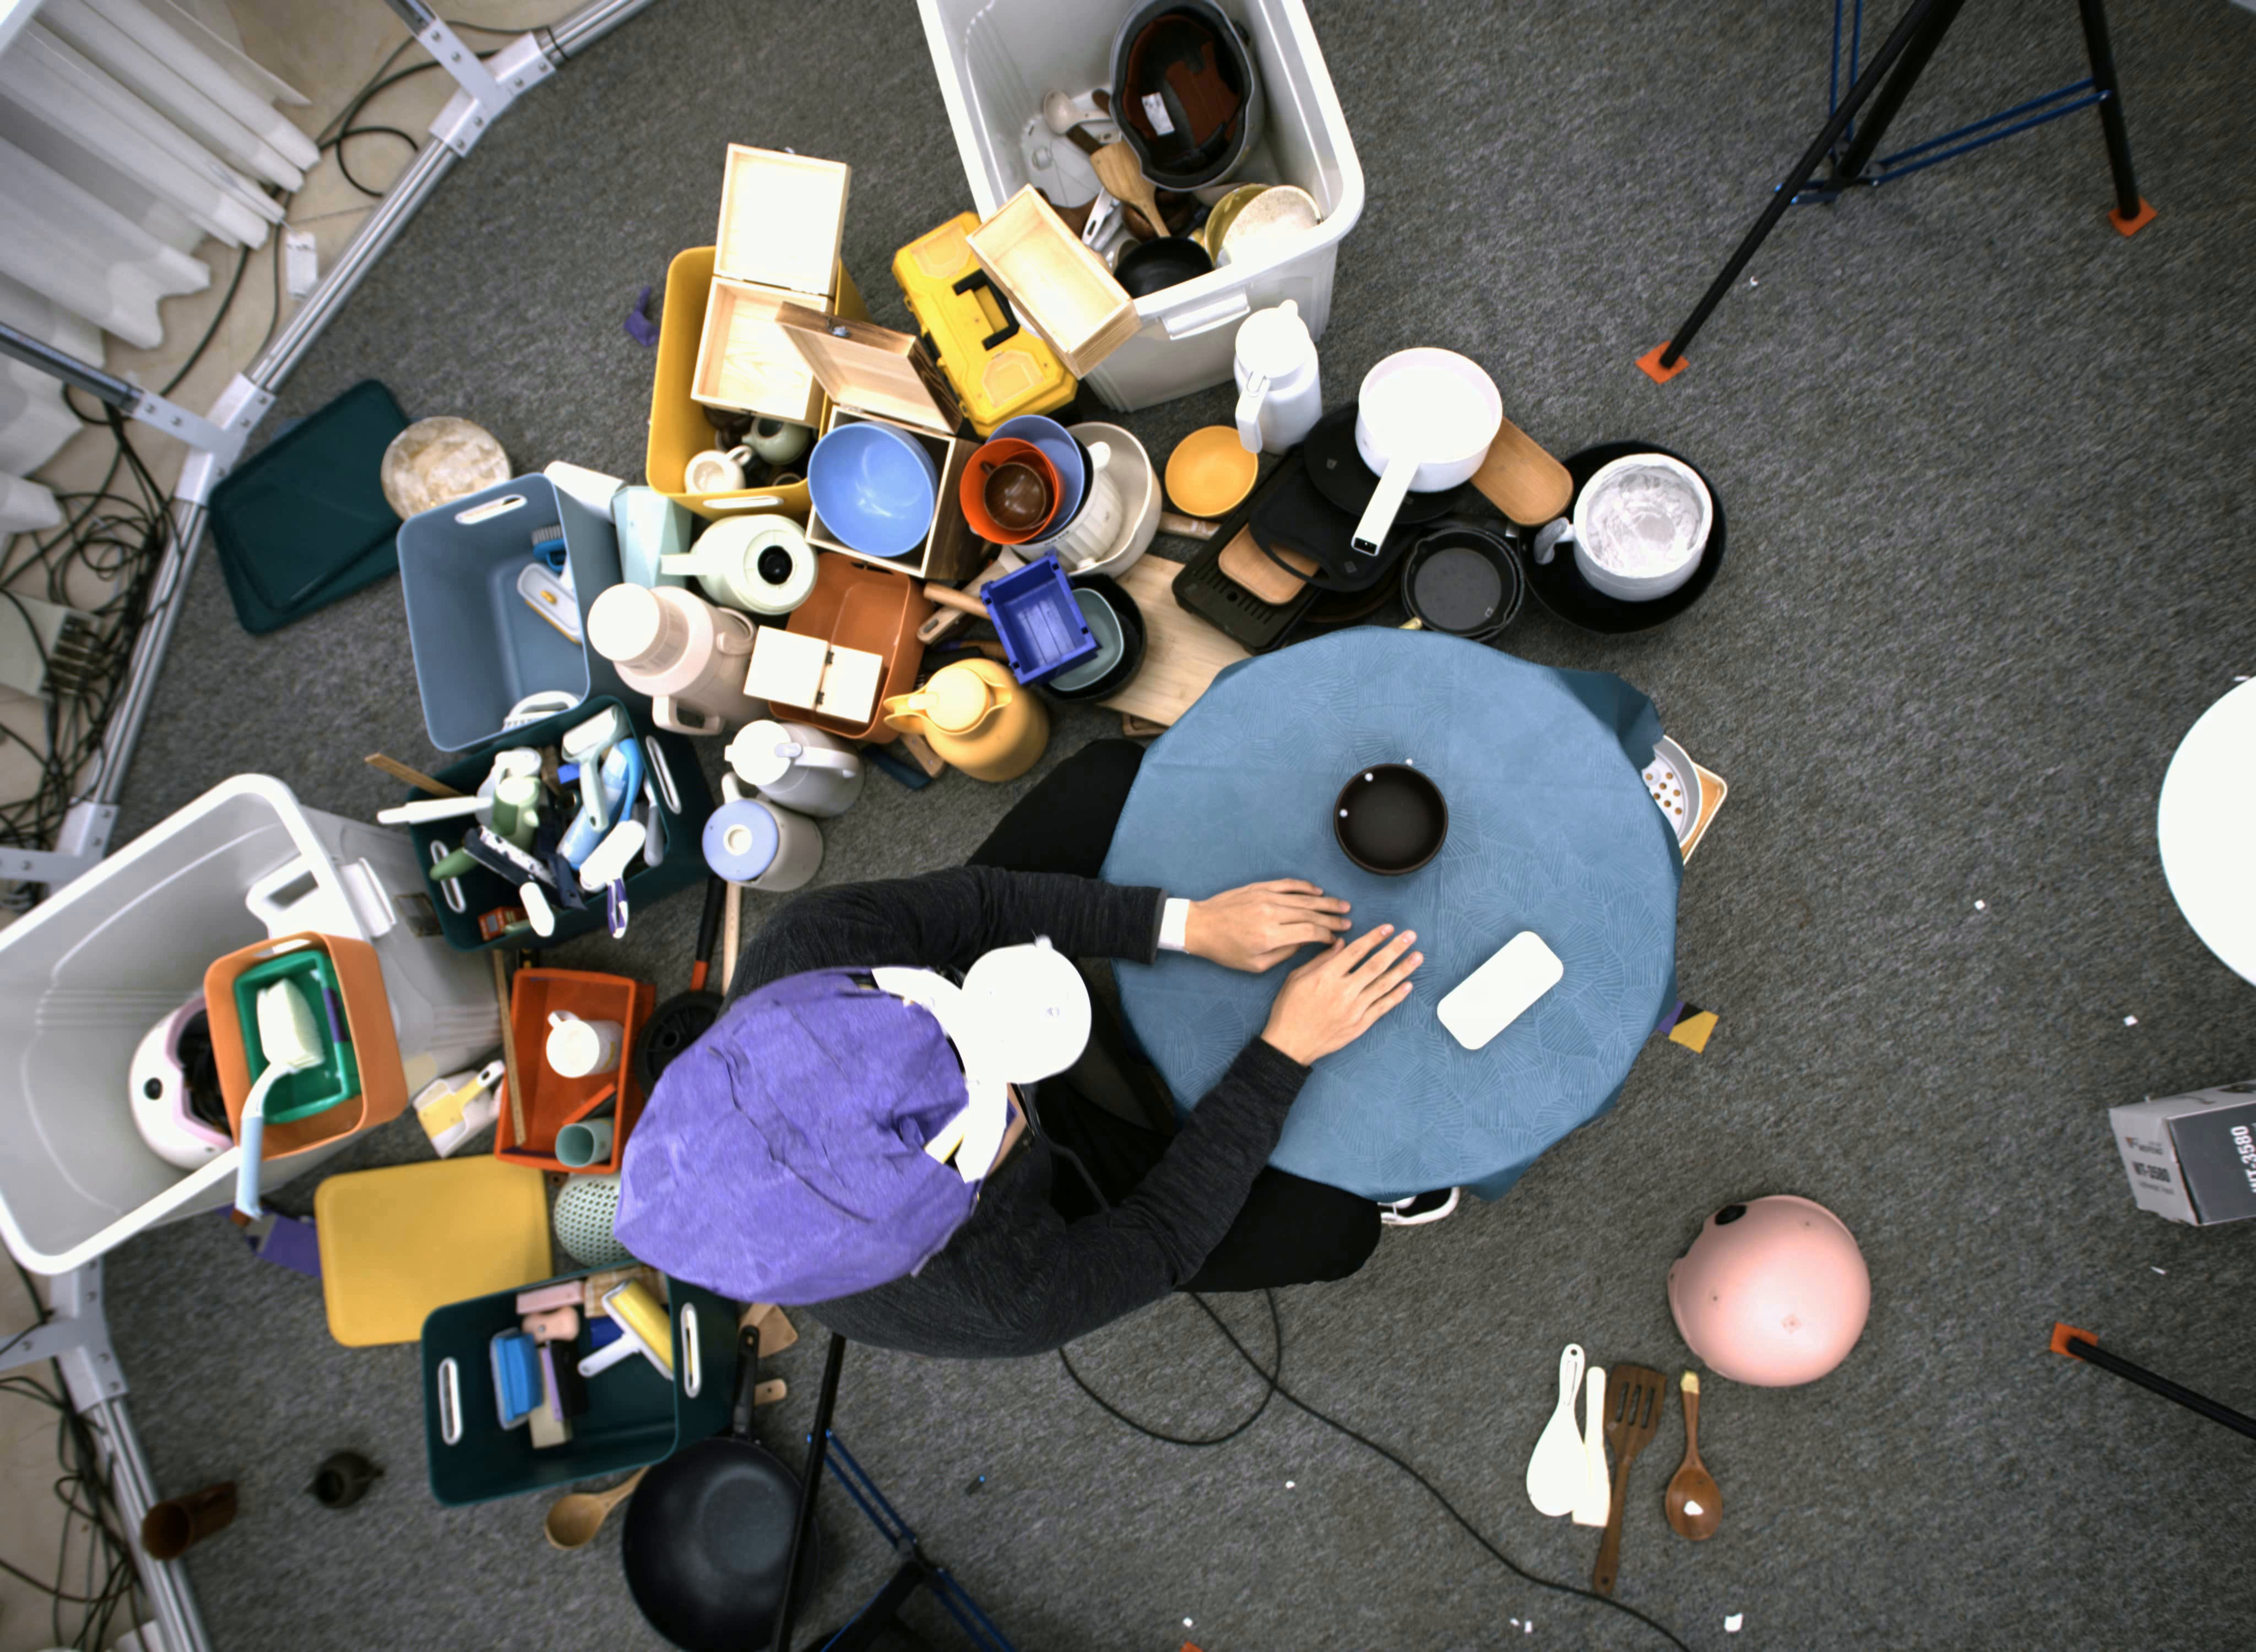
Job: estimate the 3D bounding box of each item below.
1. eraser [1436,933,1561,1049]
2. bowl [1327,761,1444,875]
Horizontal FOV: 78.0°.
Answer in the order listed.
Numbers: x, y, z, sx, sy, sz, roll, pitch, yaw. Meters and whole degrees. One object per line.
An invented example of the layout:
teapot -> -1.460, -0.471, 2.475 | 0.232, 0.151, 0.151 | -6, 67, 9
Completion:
eraser -> 0.380, 0.167, 1.418 | 0.132, 0.034, 0.063 | -41, 79, 5
bowl -> 0.265, -0.009, 1.428 | 0.118, 0.069, 0.118 | 0, 93, 8
